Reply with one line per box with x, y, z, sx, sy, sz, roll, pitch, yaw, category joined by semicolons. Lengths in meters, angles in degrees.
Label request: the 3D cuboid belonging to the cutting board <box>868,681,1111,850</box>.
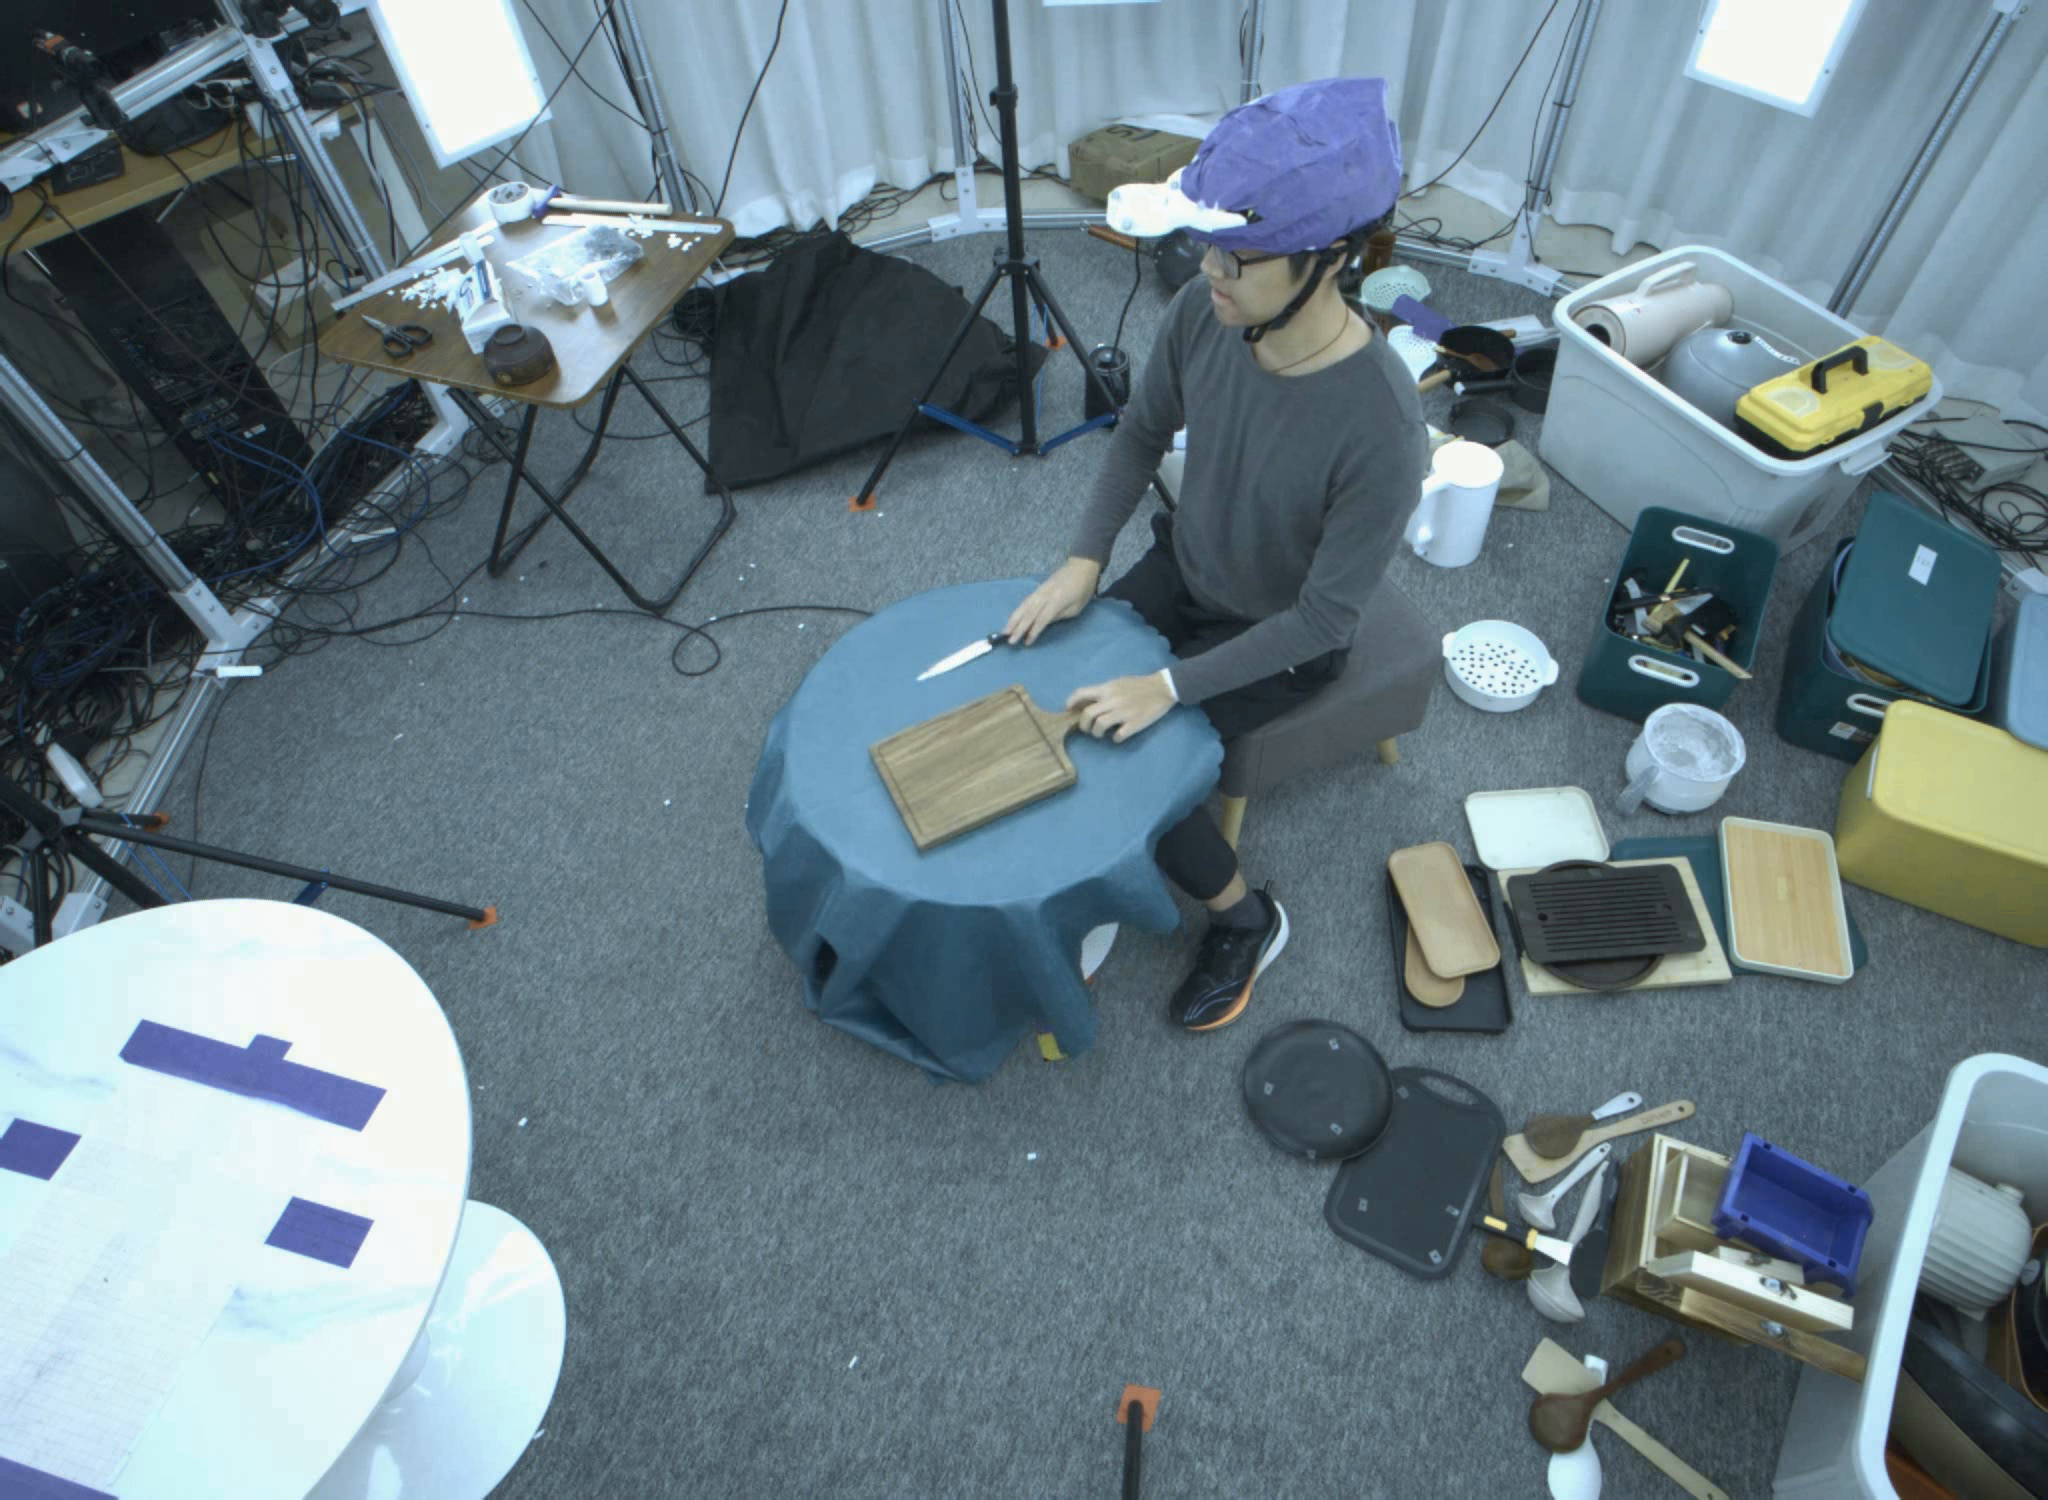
-0.030;-0.002;1.780;0.355;0.023;0.197;-24;58;-14;cutting board

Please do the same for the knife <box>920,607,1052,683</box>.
-0.061;-0.164;1.907;0.240;0.016;0.024;-30;59;-15;knife
